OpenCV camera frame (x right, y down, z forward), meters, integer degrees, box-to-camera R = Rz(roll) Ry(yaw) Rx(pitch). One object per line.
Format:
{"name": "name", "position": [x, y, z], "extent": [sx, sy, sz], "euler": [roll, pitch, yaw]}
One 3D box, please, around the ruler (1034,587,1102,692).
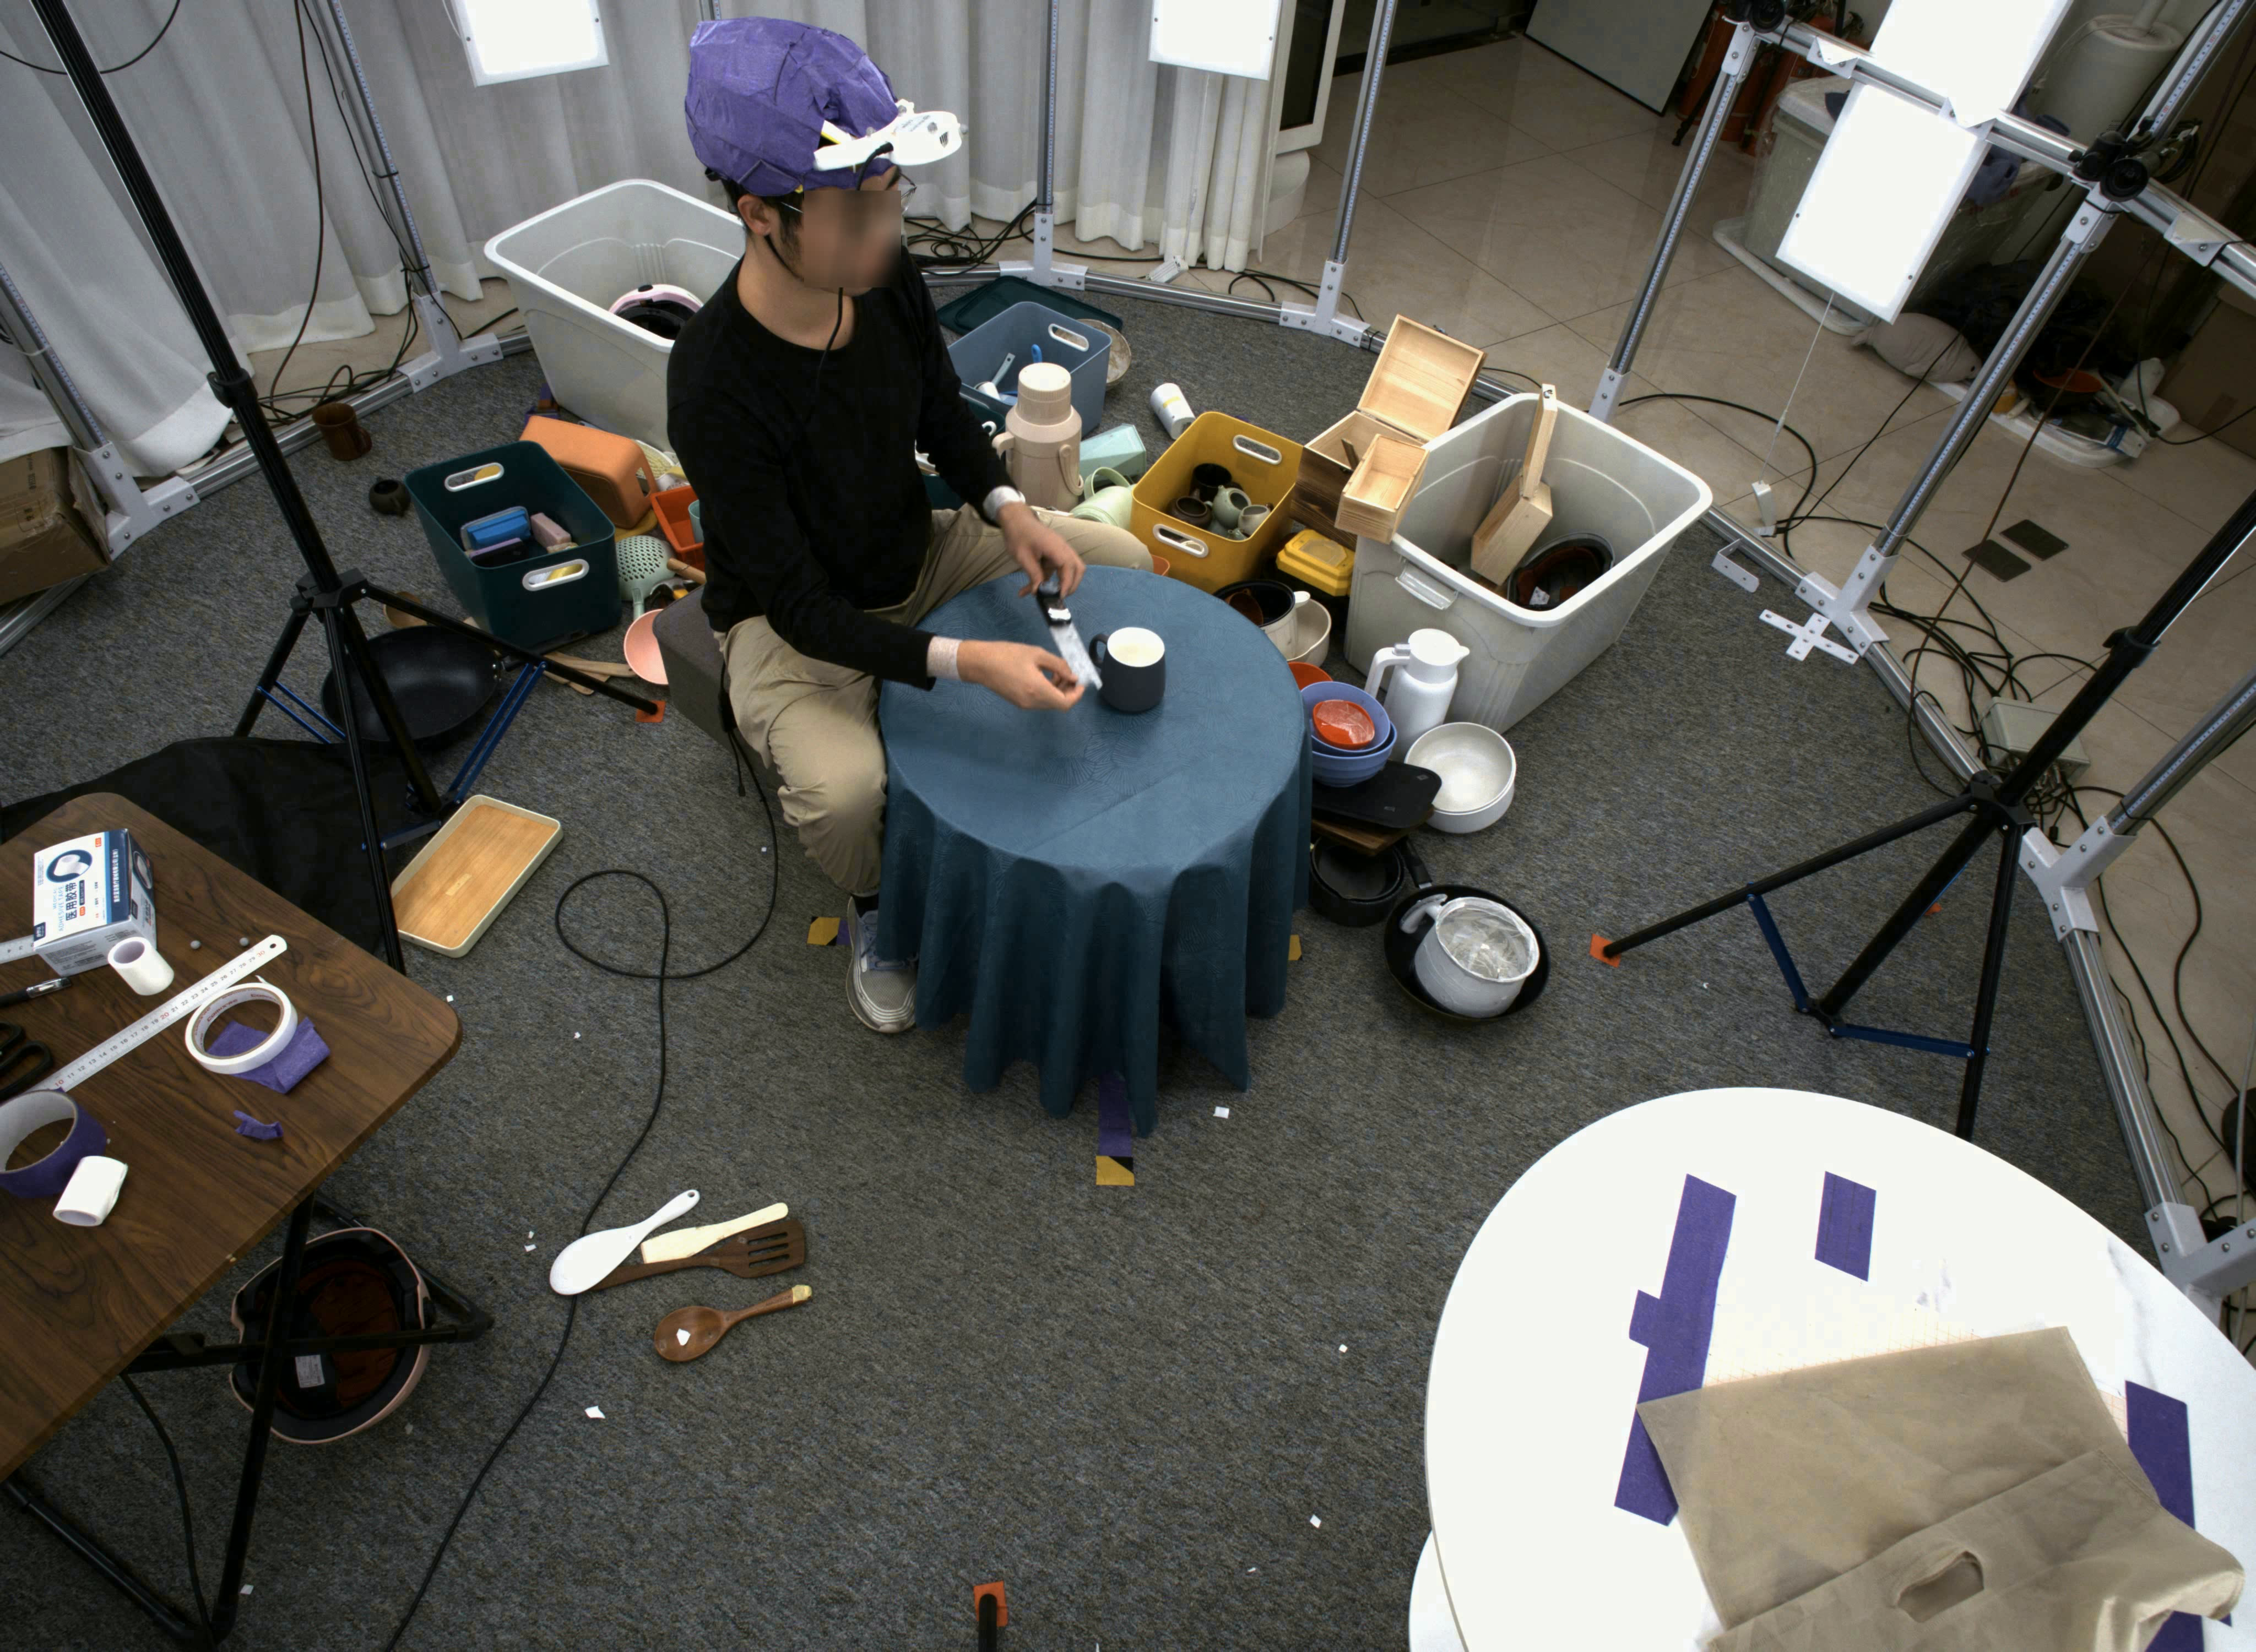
{"name": "ruler", "position": [-0.086, -0.258, 1.753], "extent": [0.038, 0.023, 0.223], "euler": [-11, 45, -14]}

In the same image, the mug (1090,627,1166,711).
{"name": "mug", "position": [-0.003, -0.228, 1.807], "extent": [0.125, 0.088, 0.094], "euler": [35, 55, 22]}
